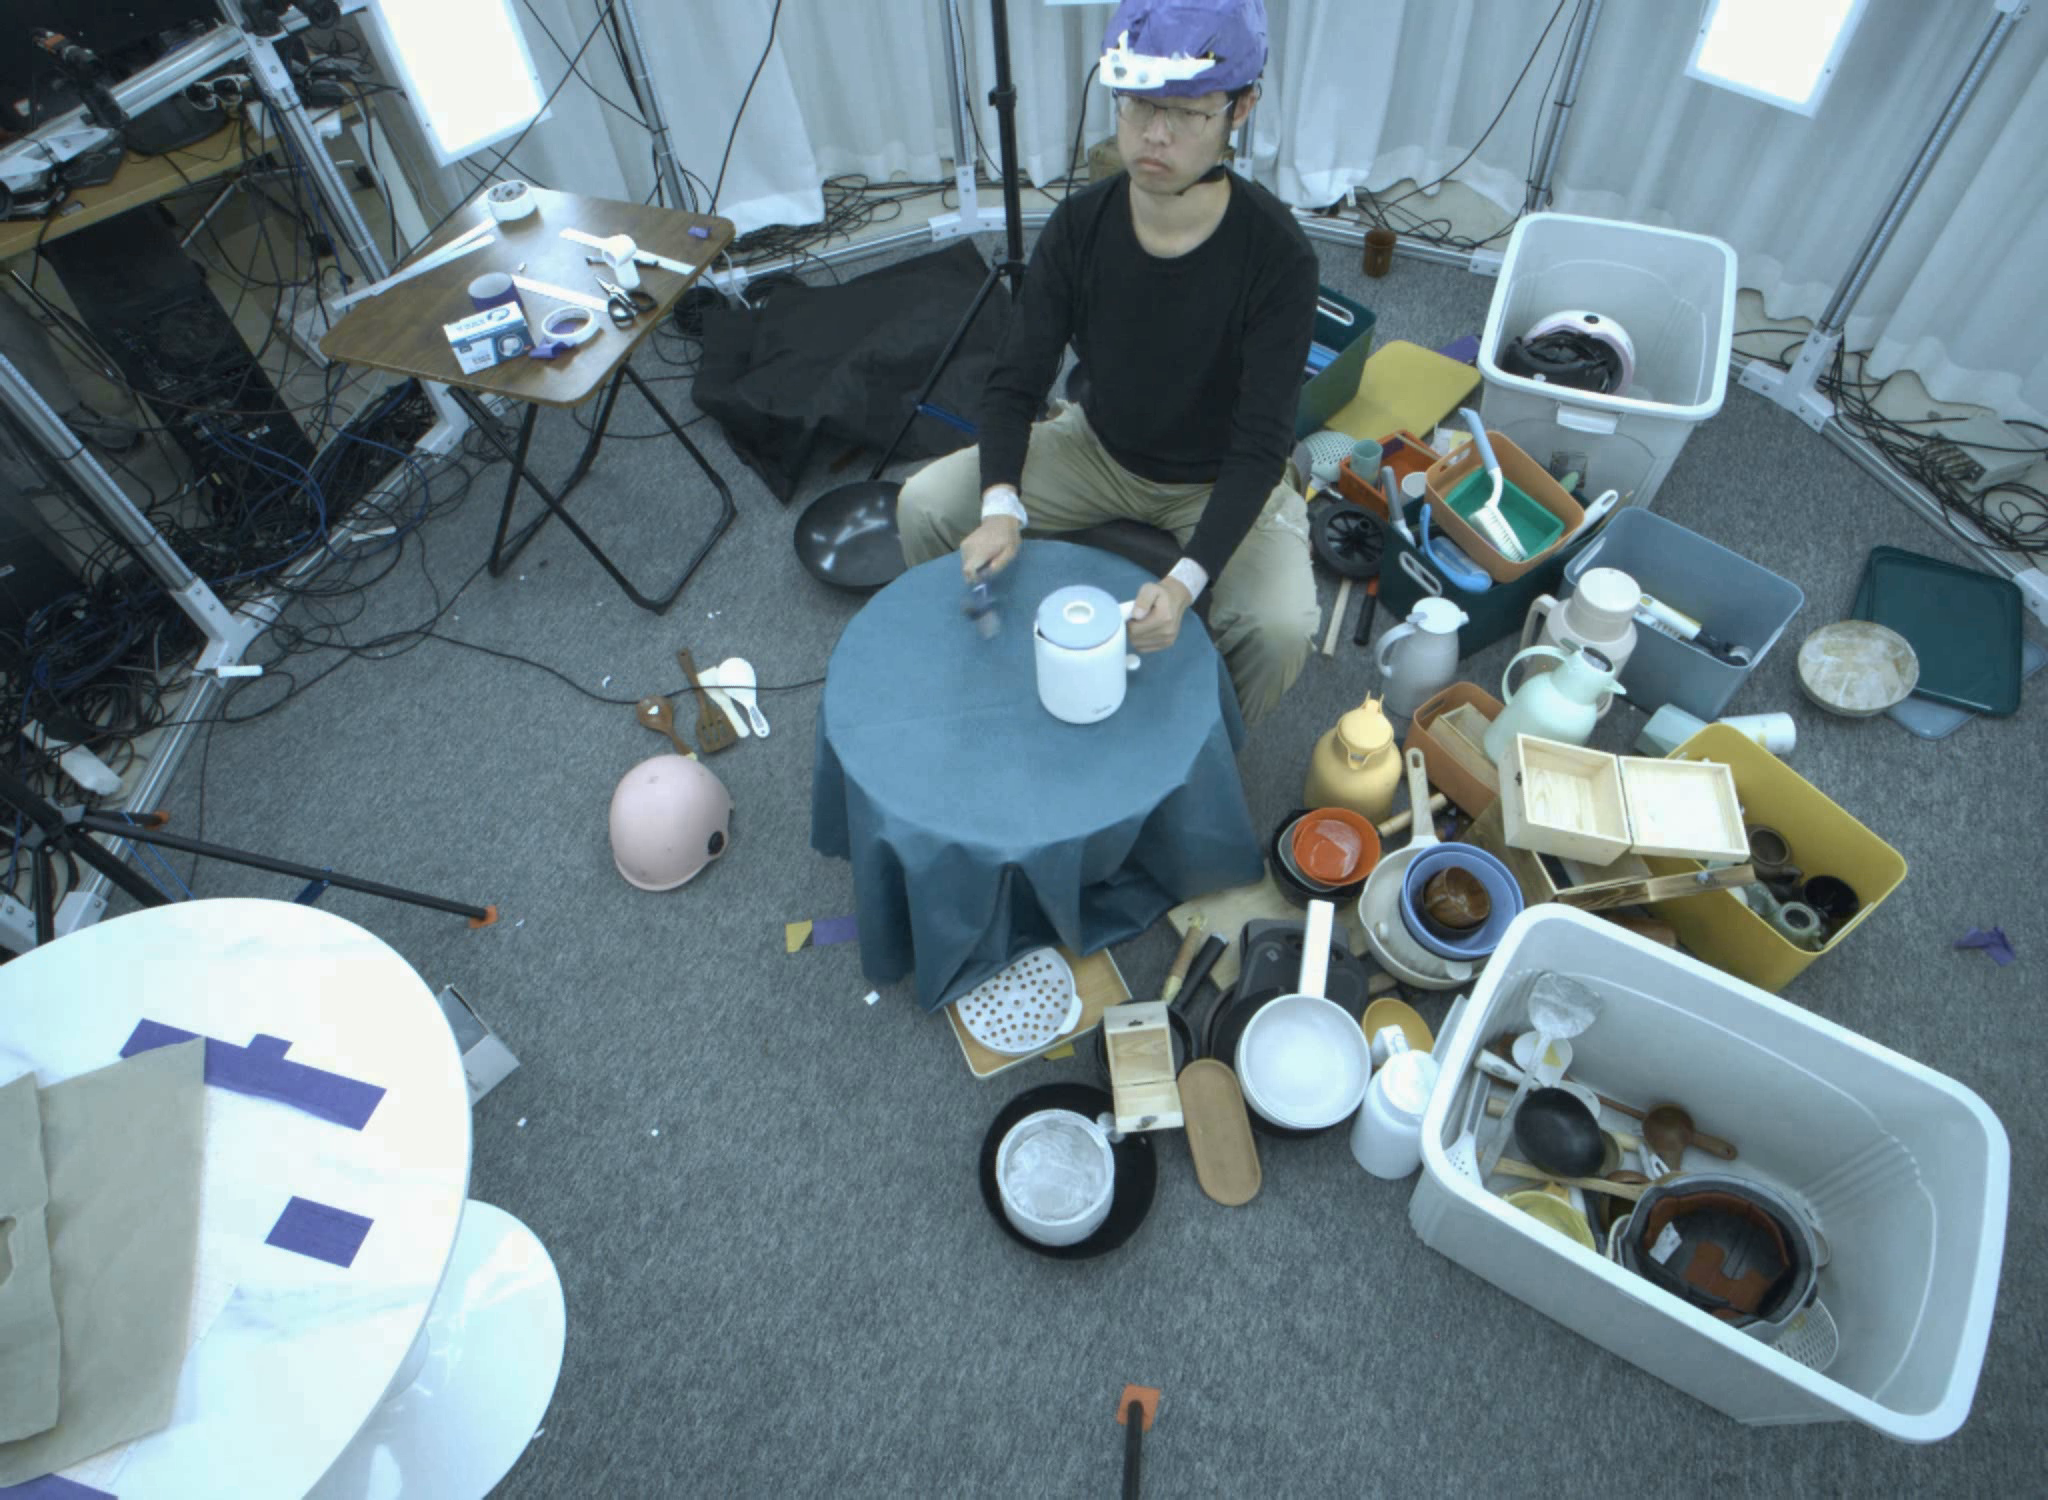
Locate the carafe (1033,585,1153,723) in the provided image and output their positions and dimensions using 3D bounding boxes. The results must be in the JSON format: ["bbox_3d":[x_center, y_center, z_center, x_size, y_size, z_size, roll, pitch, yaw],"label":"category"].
[{"bbox_3d":[0.104,-0.148,1.783,0.192,0.184,0.130,-23,57,-14],"label":"carafe"}]

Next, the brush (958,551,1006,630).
[{"bbox_3d":[-0.060,-0.250,1.800,0.033,0.097,0.269,-34,29,16],"label":"brush"}]
